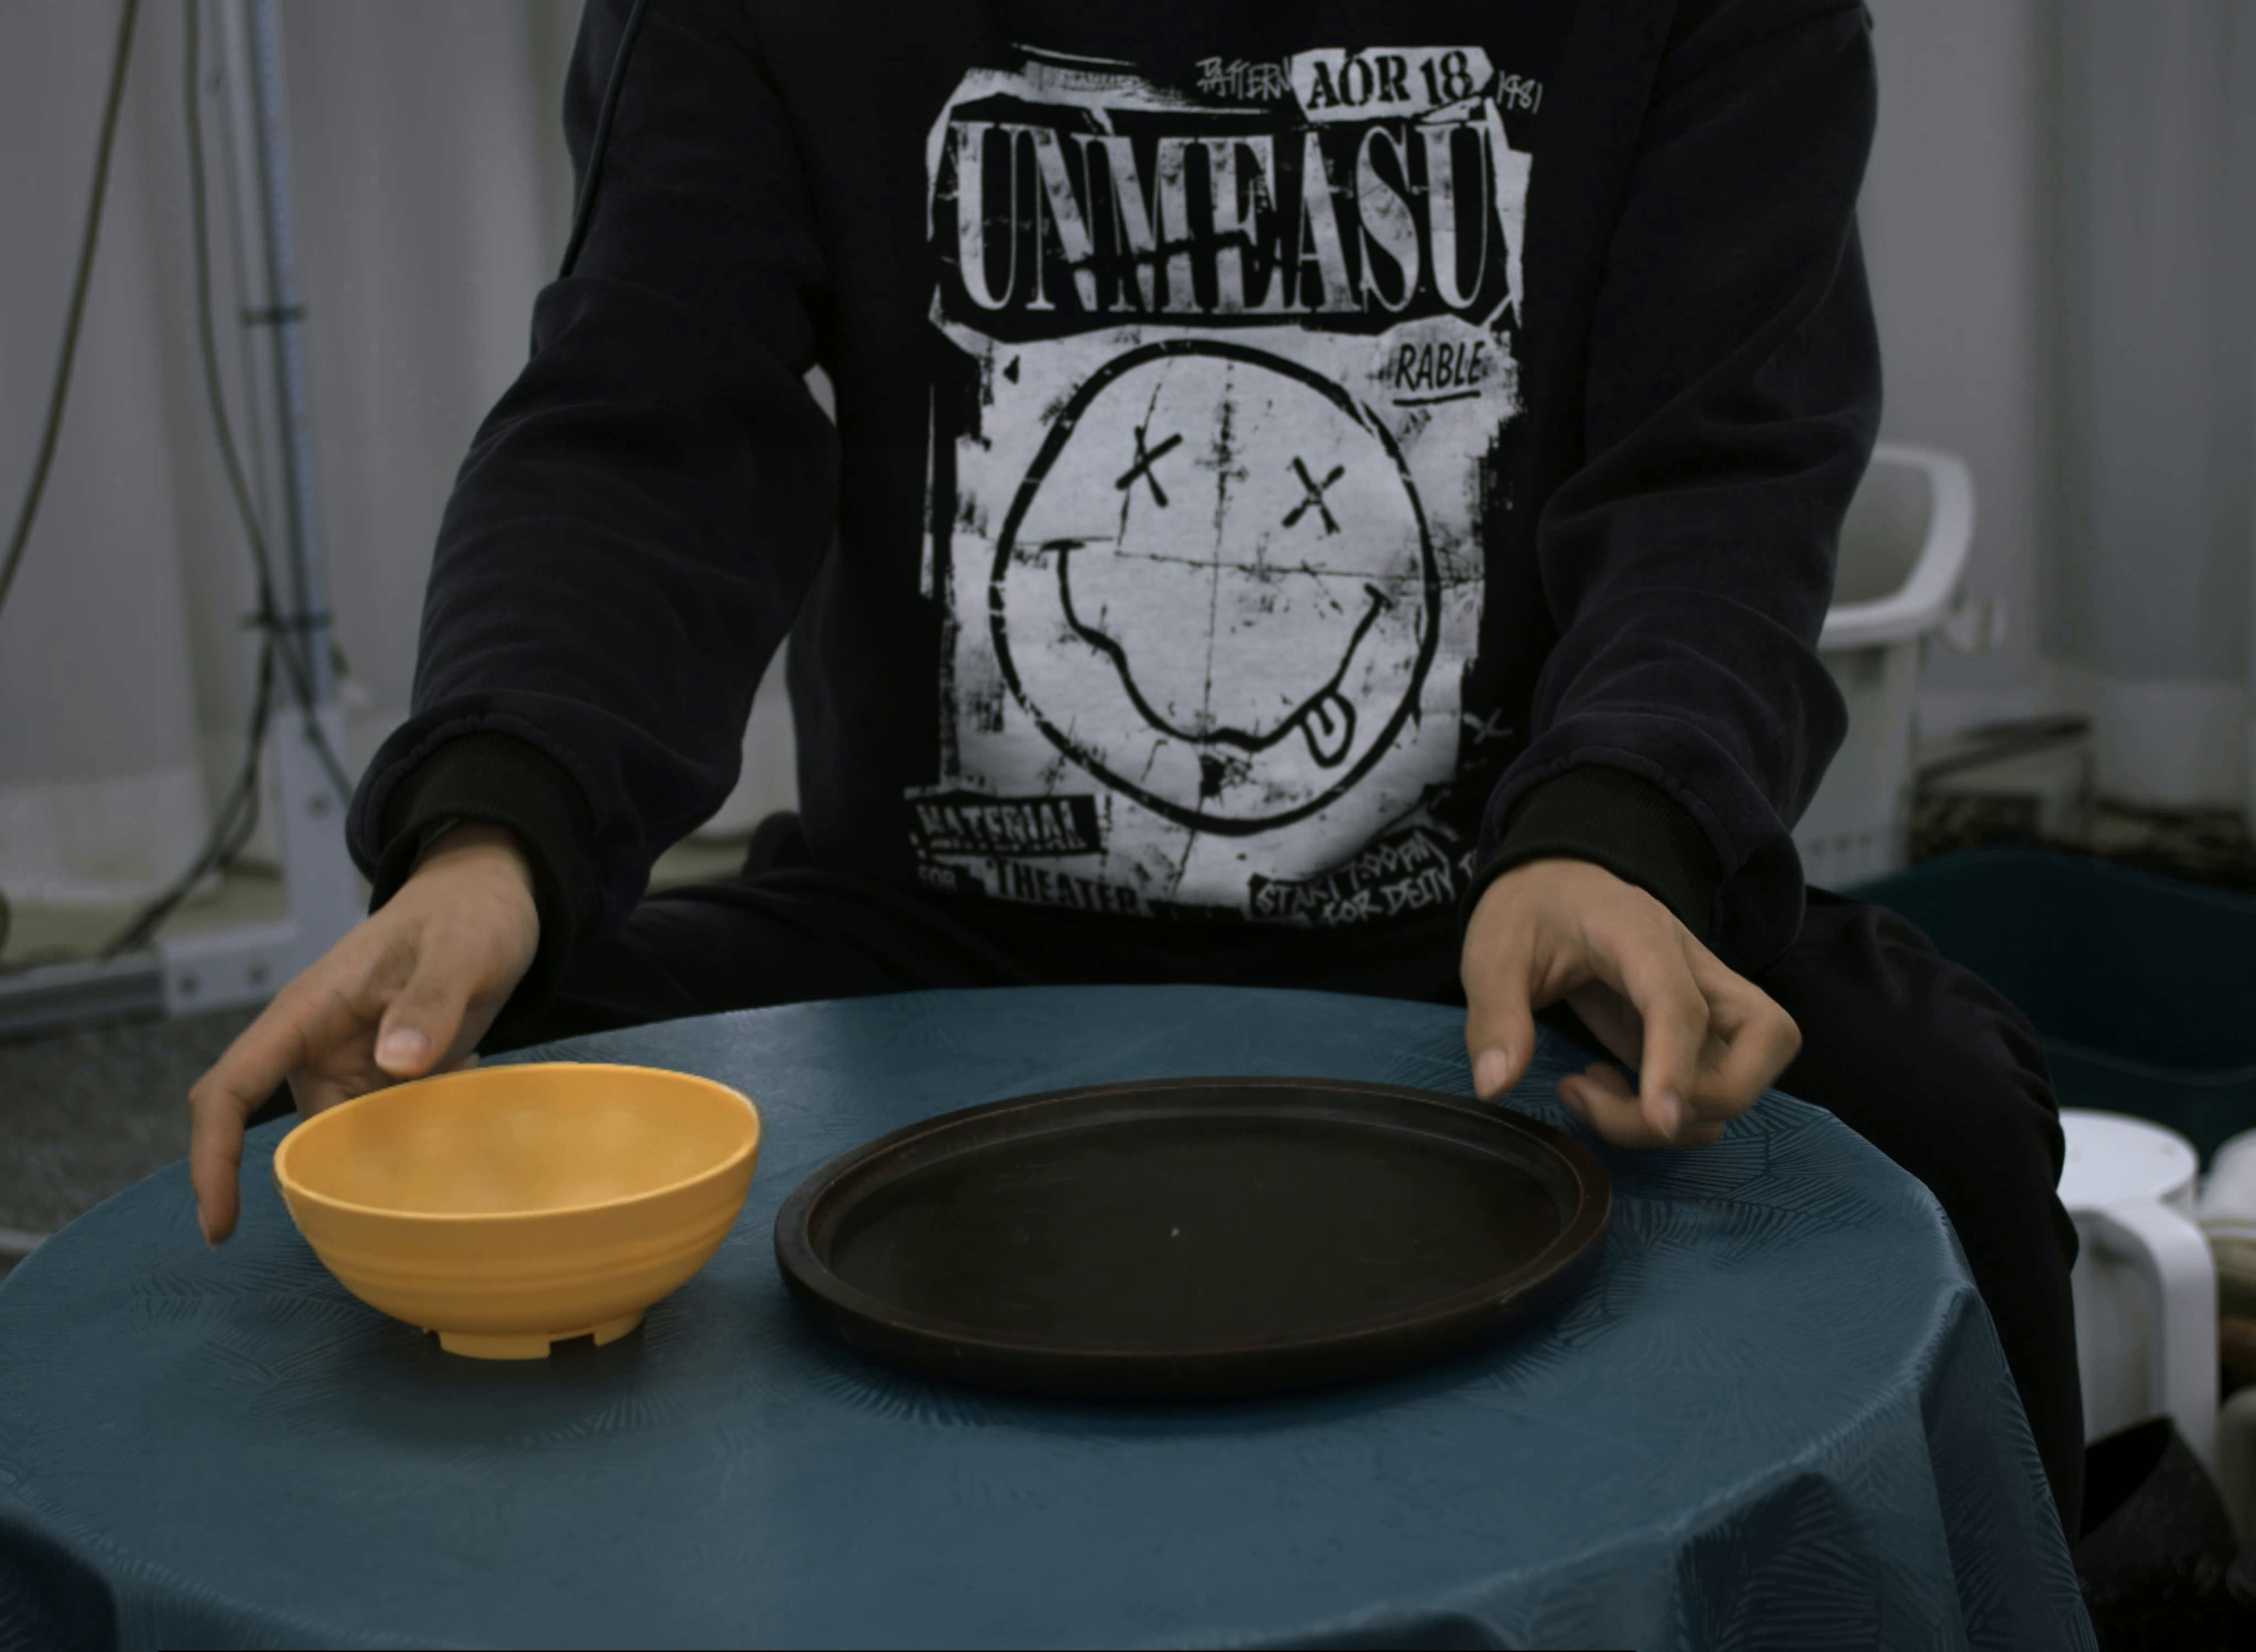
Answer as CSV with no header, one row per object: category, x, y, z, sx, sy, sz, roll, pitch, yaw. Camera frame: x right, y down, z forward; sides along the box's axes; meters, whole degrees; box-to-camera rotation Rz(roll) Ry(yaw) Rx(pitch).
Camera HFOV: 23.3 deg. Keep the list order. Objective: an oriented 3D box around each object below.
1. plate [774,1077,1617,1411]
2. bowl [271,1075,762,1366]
plate,0.020,0.123,1.636,0.254,0.029,0.256,-4,14,1
bowl,-0.180,0.121,1.618,0.145,0.060,0.146,-1,13,0
